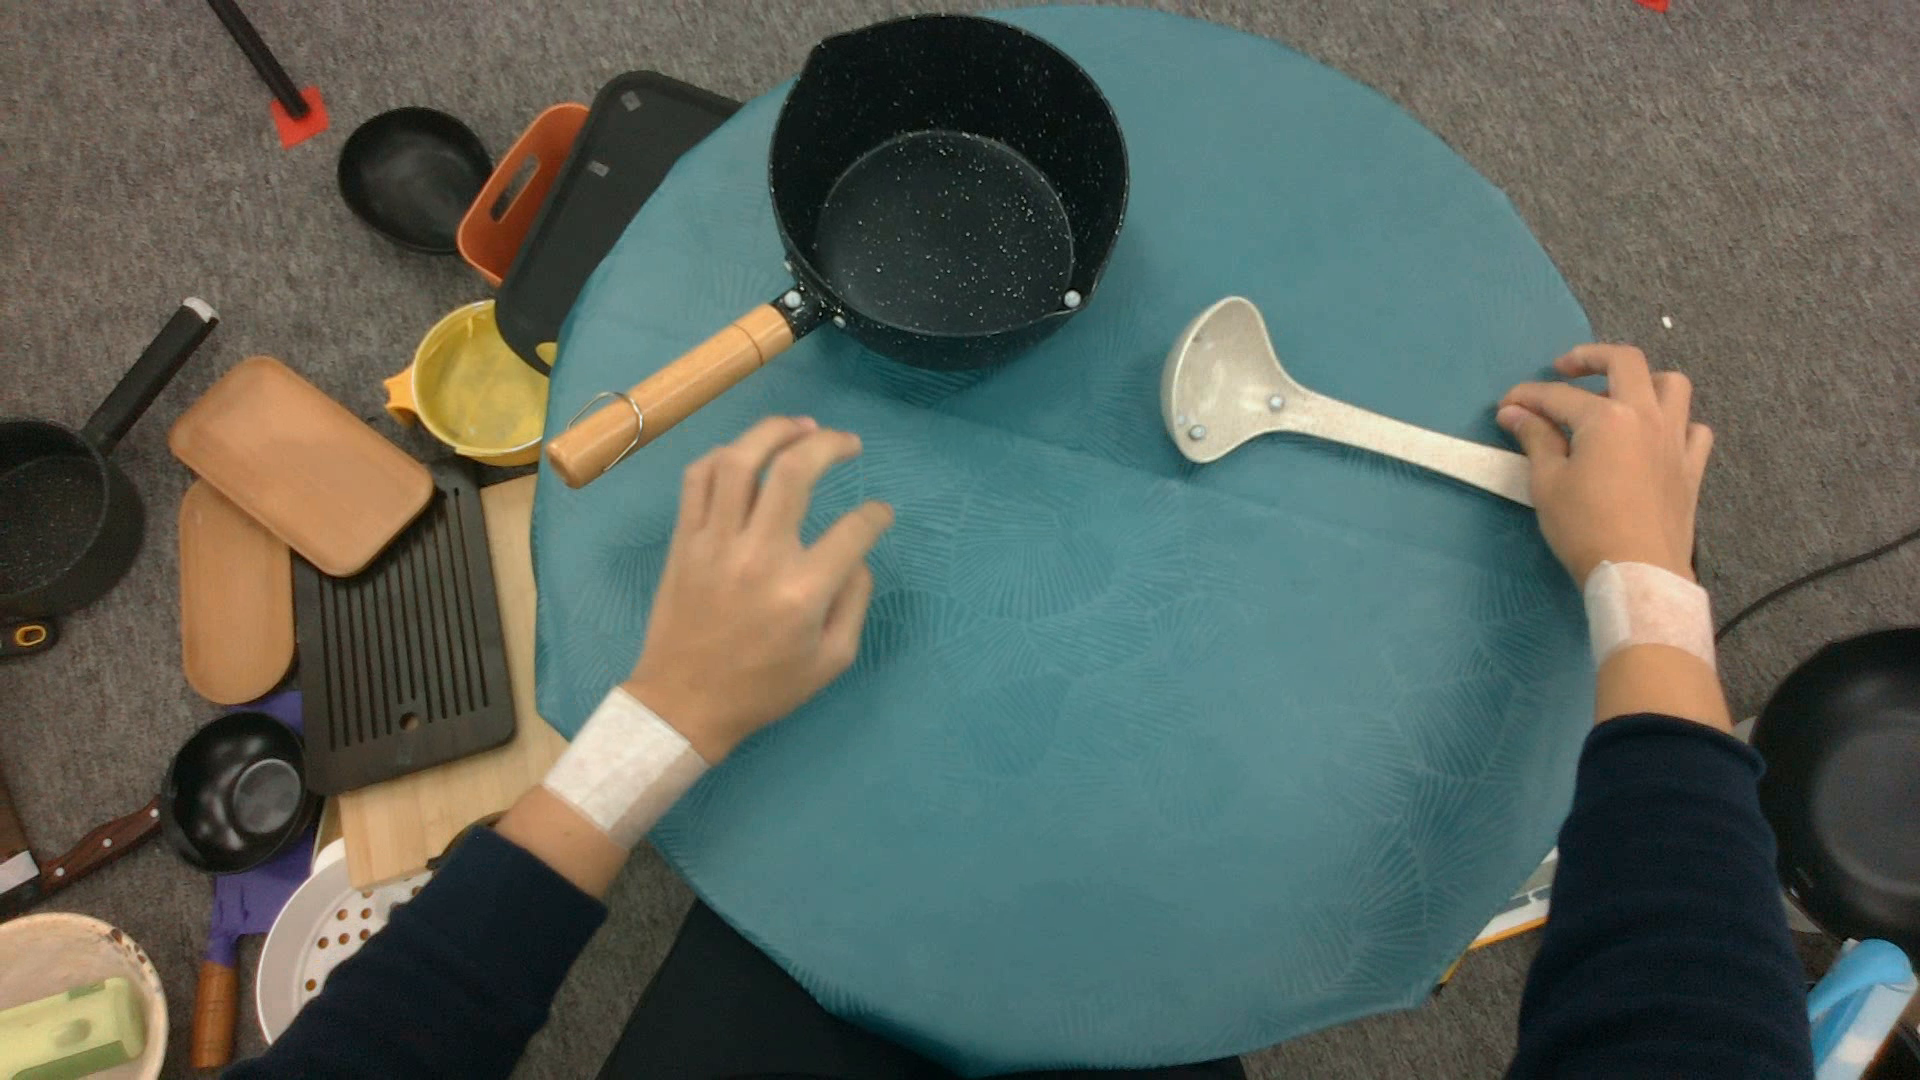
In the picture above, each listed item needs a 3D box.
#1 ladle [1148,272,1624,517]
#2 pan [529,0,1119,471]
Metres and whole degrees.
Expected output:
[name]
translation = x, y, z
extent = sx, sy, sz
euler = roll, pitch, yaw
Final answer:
[ladle]
translation = 0.233, -0.068, 0.727
extent = 0.275, 0.069, 0.089
euler = 16, 66, 2
[pan]
translation = -0.069, -0.135, 0.709
extent = 0.343, 0.108, 0.207
euler = -43, 81, -15
